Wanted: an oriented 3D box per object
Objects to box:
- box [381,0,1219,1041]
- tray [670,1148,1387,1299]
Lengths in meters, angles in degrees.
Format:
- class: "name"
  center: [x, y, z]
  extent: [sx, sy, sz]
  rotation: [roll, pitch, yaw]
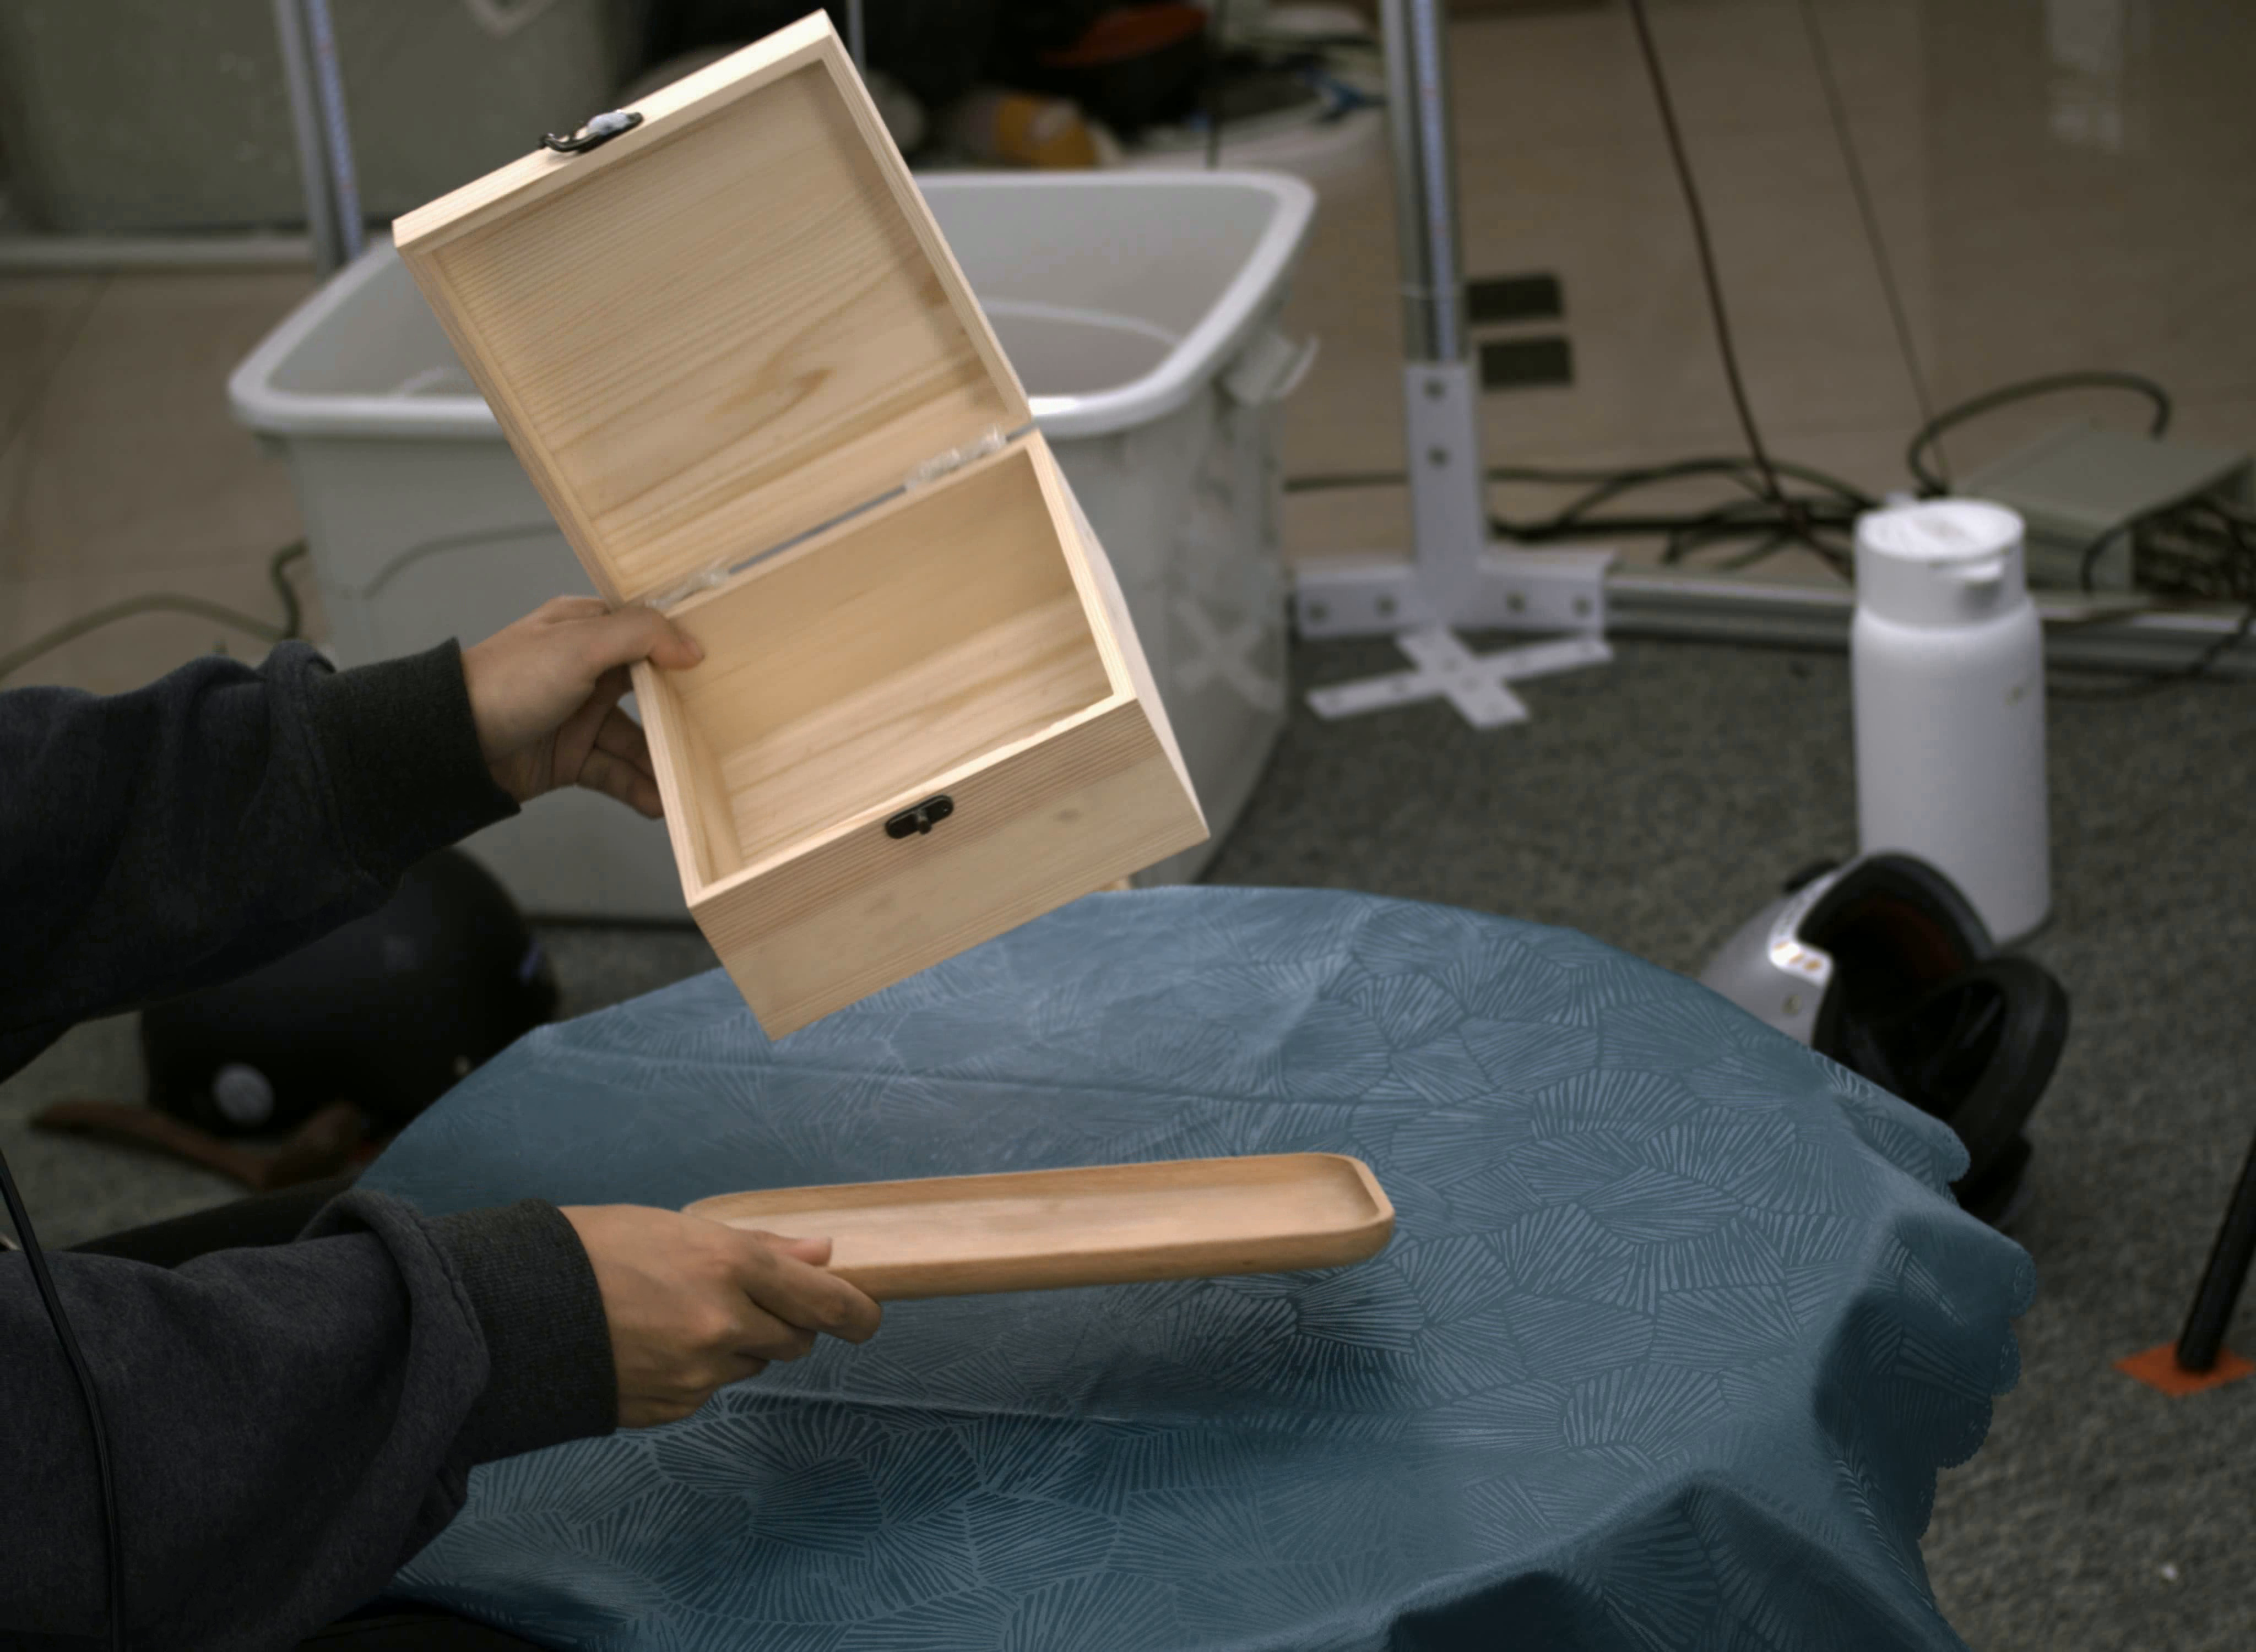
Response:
- class: "box"
  center: [-0.124, -0.116, 2.093]
  extent: [0.182, 0.257, 0.260]
  rotation: [-28, 39, 7]
- class: "tray"
  center: [-0.036, 0.141, 2.013]
  extent: [0.250, 0.023, 0.130]
  rotation: [-4, 6, -4]
